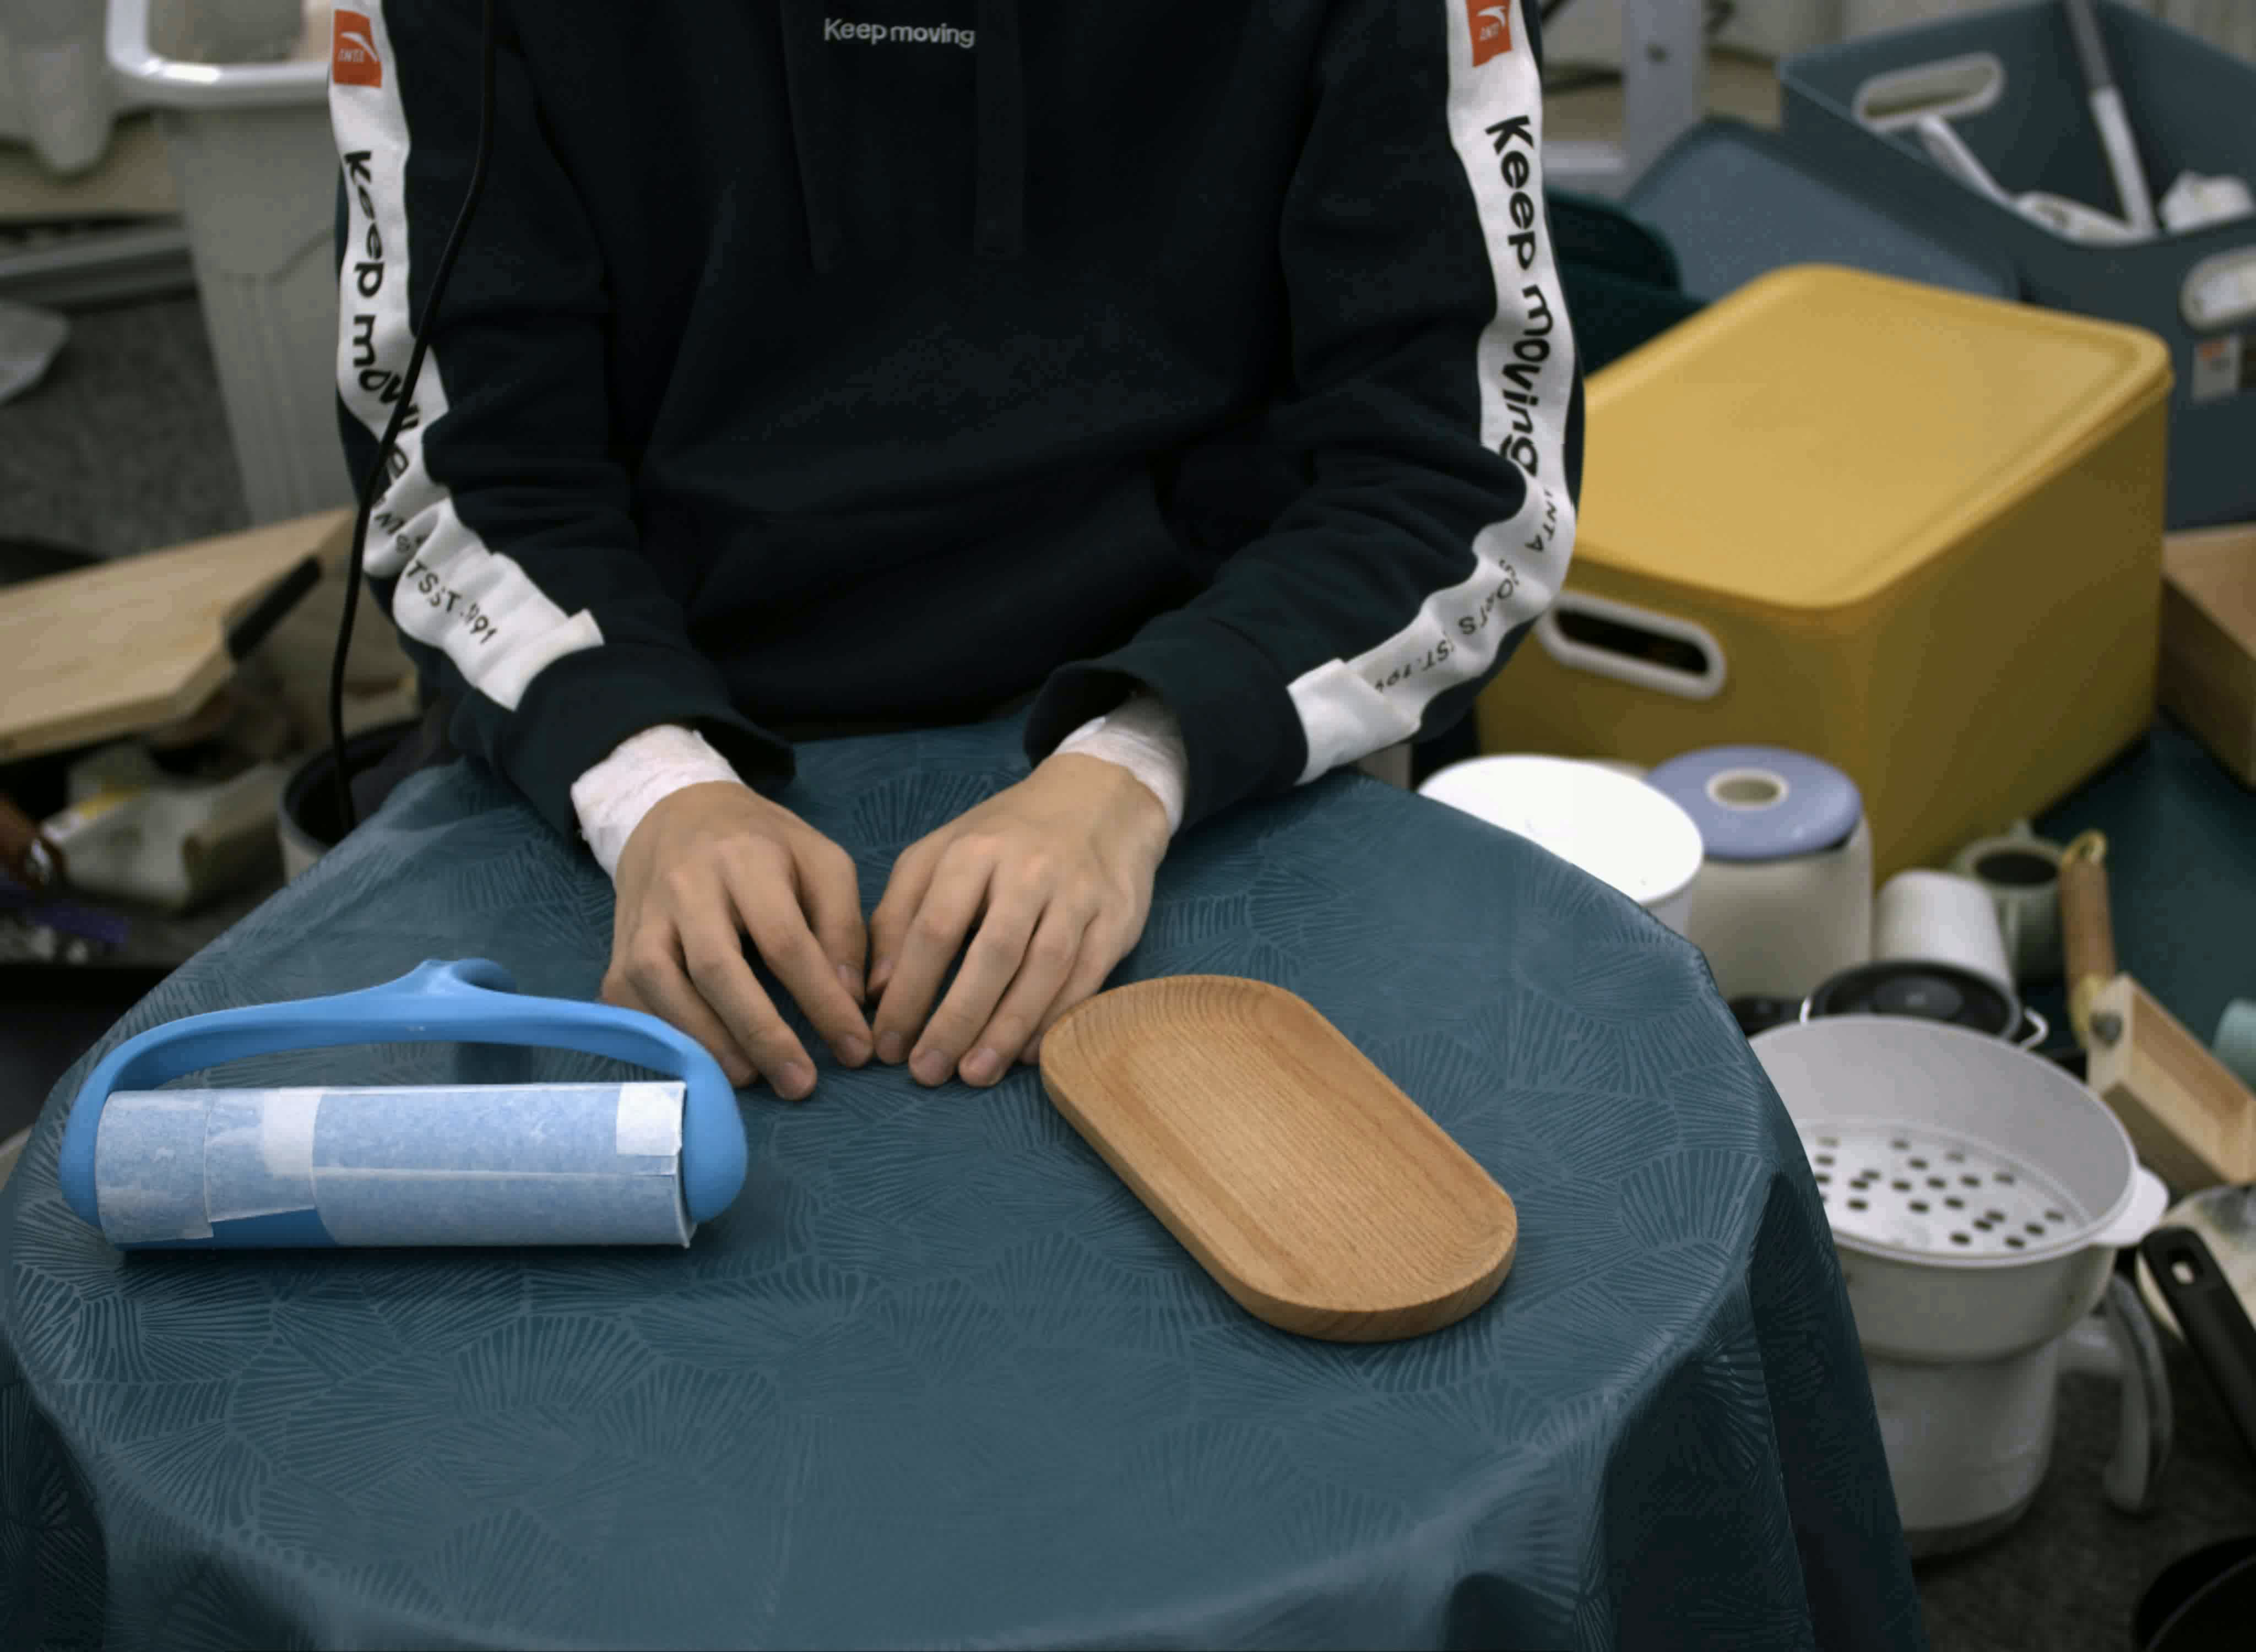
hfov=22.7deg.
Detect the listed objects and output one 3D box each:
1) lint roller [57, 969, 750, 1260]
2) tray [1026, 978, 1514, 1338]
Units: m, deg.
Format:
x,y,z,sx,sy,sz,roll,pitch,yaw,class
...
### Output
x,y,z,sx,sy,sz,roll,pitch,yaw,class
-0.237,0.084,1.894,0.228,0.067,0.183,-4,28,2,lint roller
0.045,0.108,1.865,0.102,0.020,0.232,-14,28,-22,tray
